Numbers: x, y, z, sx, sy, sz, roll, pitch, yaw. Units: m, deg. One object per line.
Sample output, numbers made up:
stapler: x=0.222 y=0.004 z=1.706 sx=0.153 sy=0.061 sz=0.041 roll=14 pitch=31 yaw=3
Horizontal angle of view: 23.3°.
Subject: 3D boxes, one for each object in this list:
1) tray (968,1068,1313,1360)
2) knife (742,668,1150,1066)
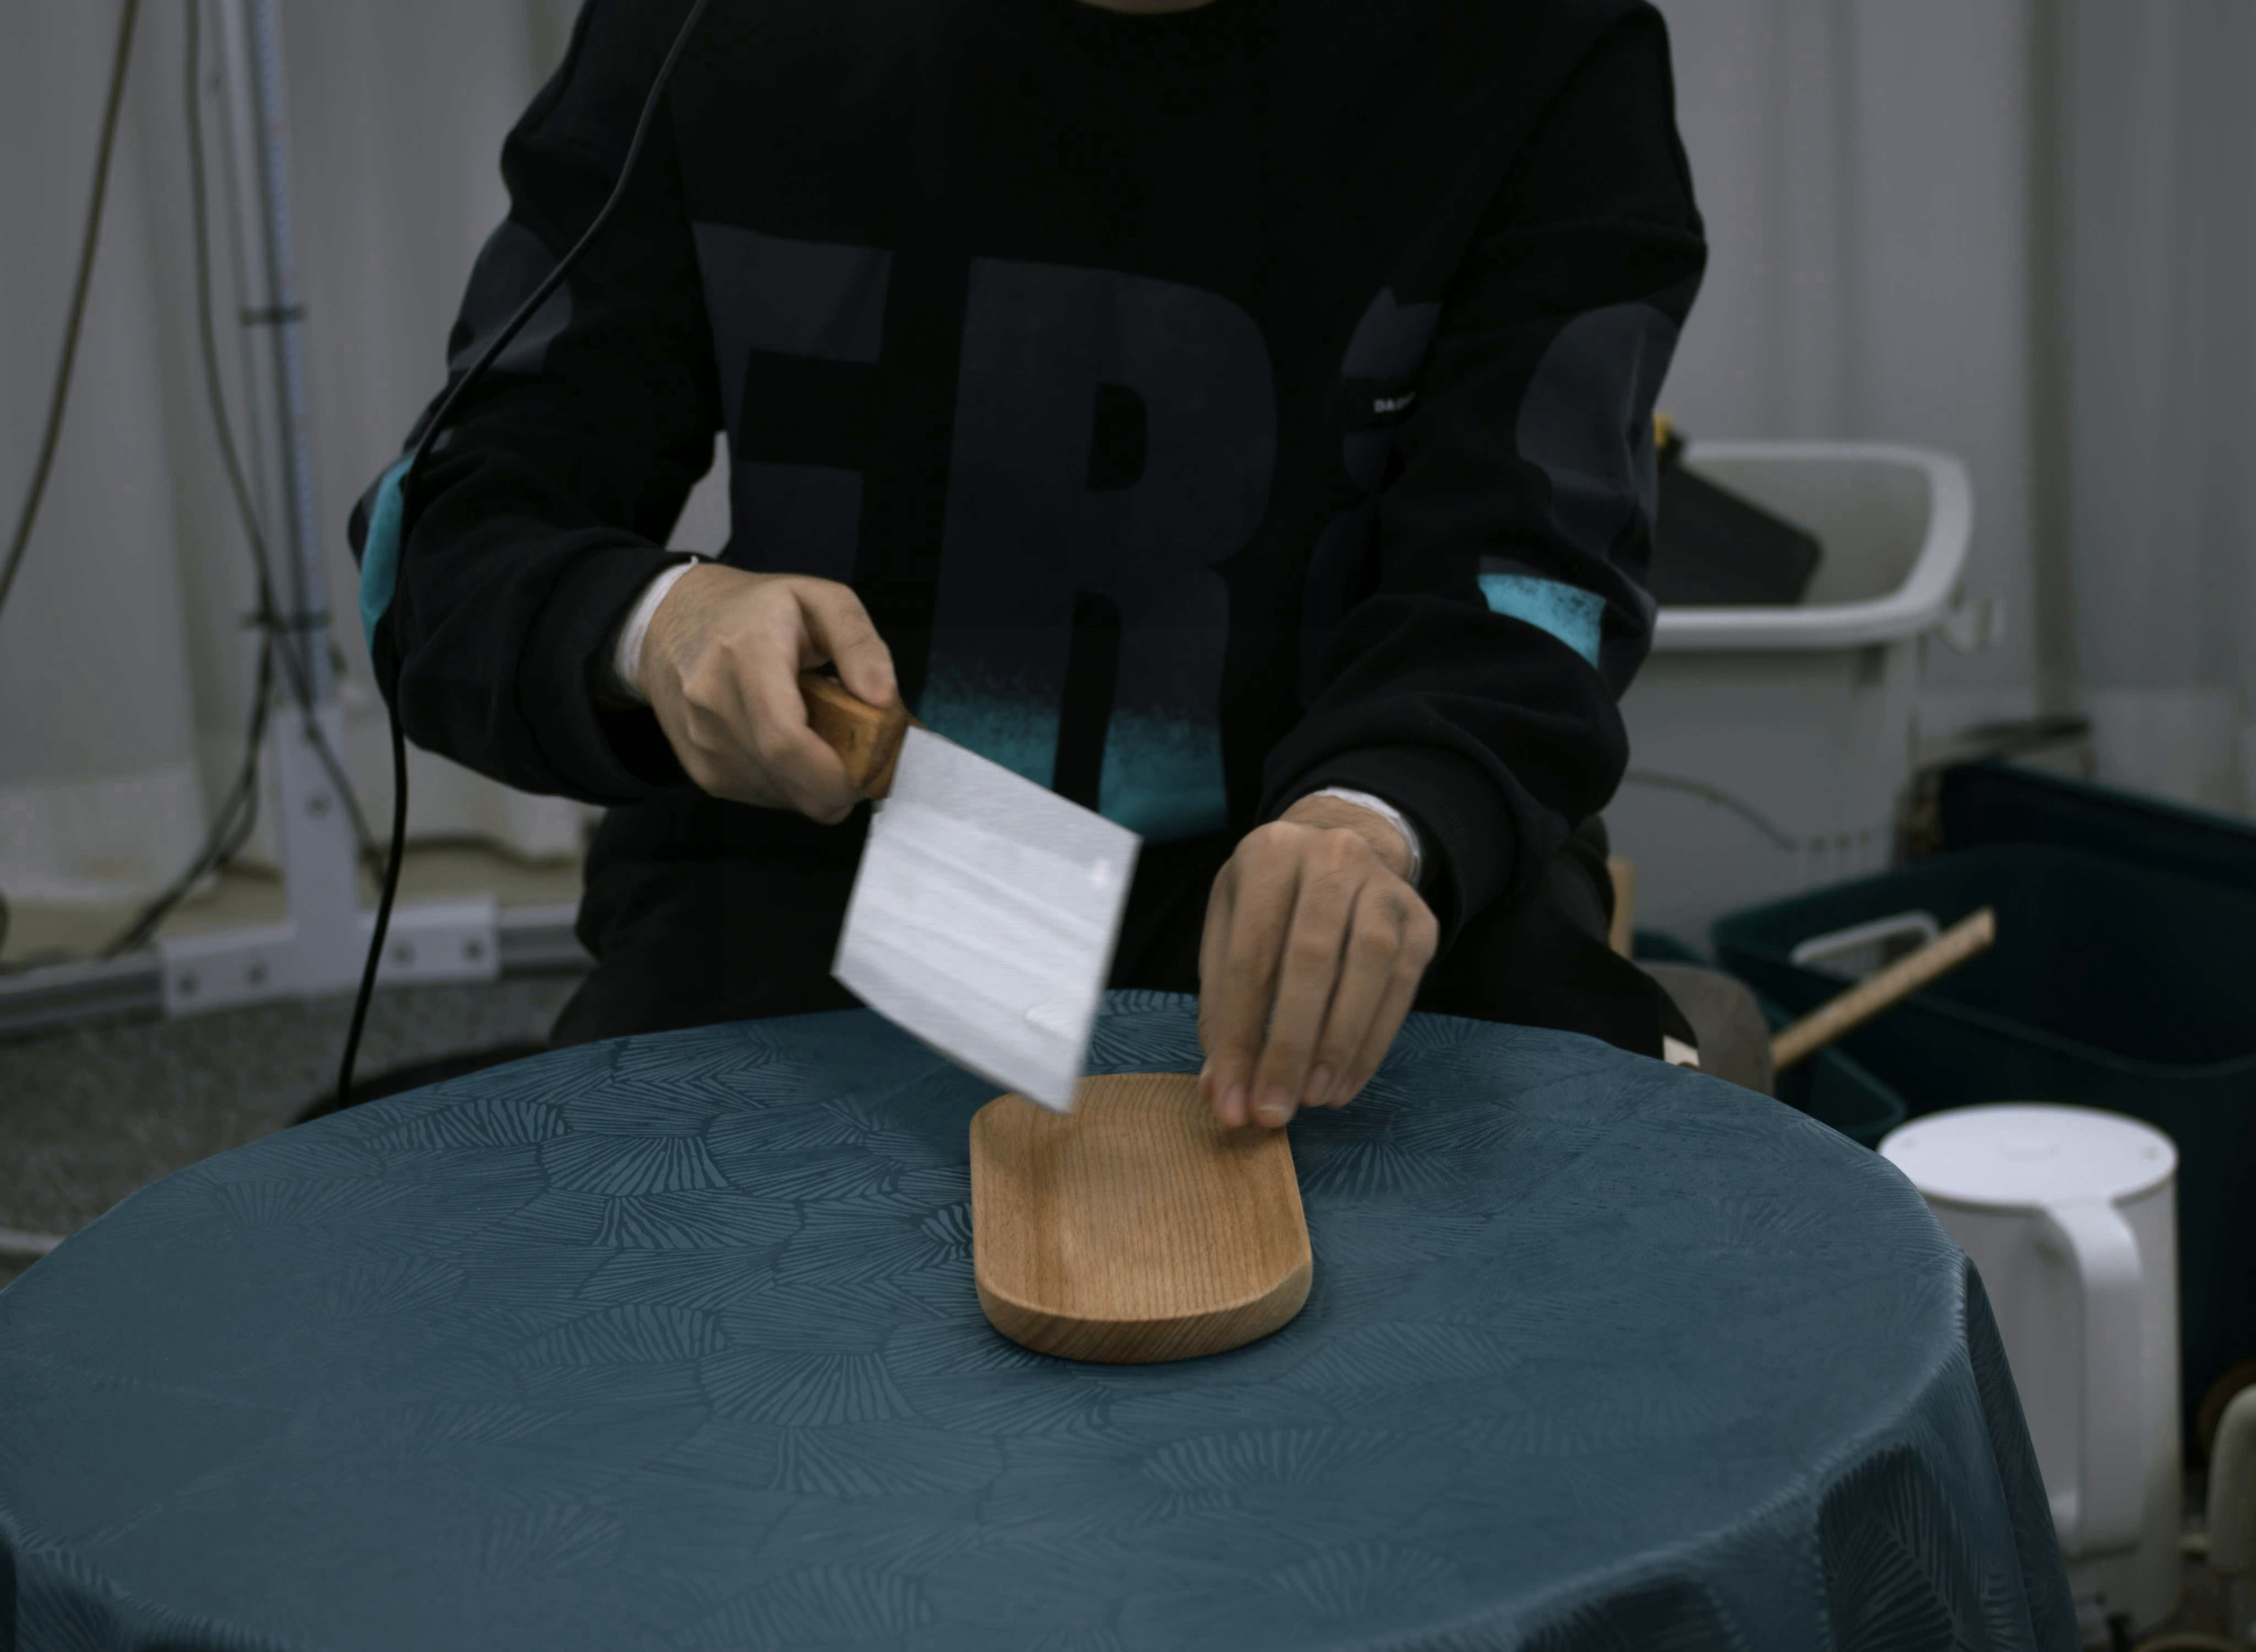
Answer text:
tray: x=0.002 y=0.117 z=1.676 sx=0.101 sy=0.020 sz=0.233 roll=-3 pitch=14 yaw=-1
knife: x=-0.066 y=0.013 z=1.778 sx=0.021 sy=0.093 sz=0.308 roll=9 pitch=8 yaw=-27
